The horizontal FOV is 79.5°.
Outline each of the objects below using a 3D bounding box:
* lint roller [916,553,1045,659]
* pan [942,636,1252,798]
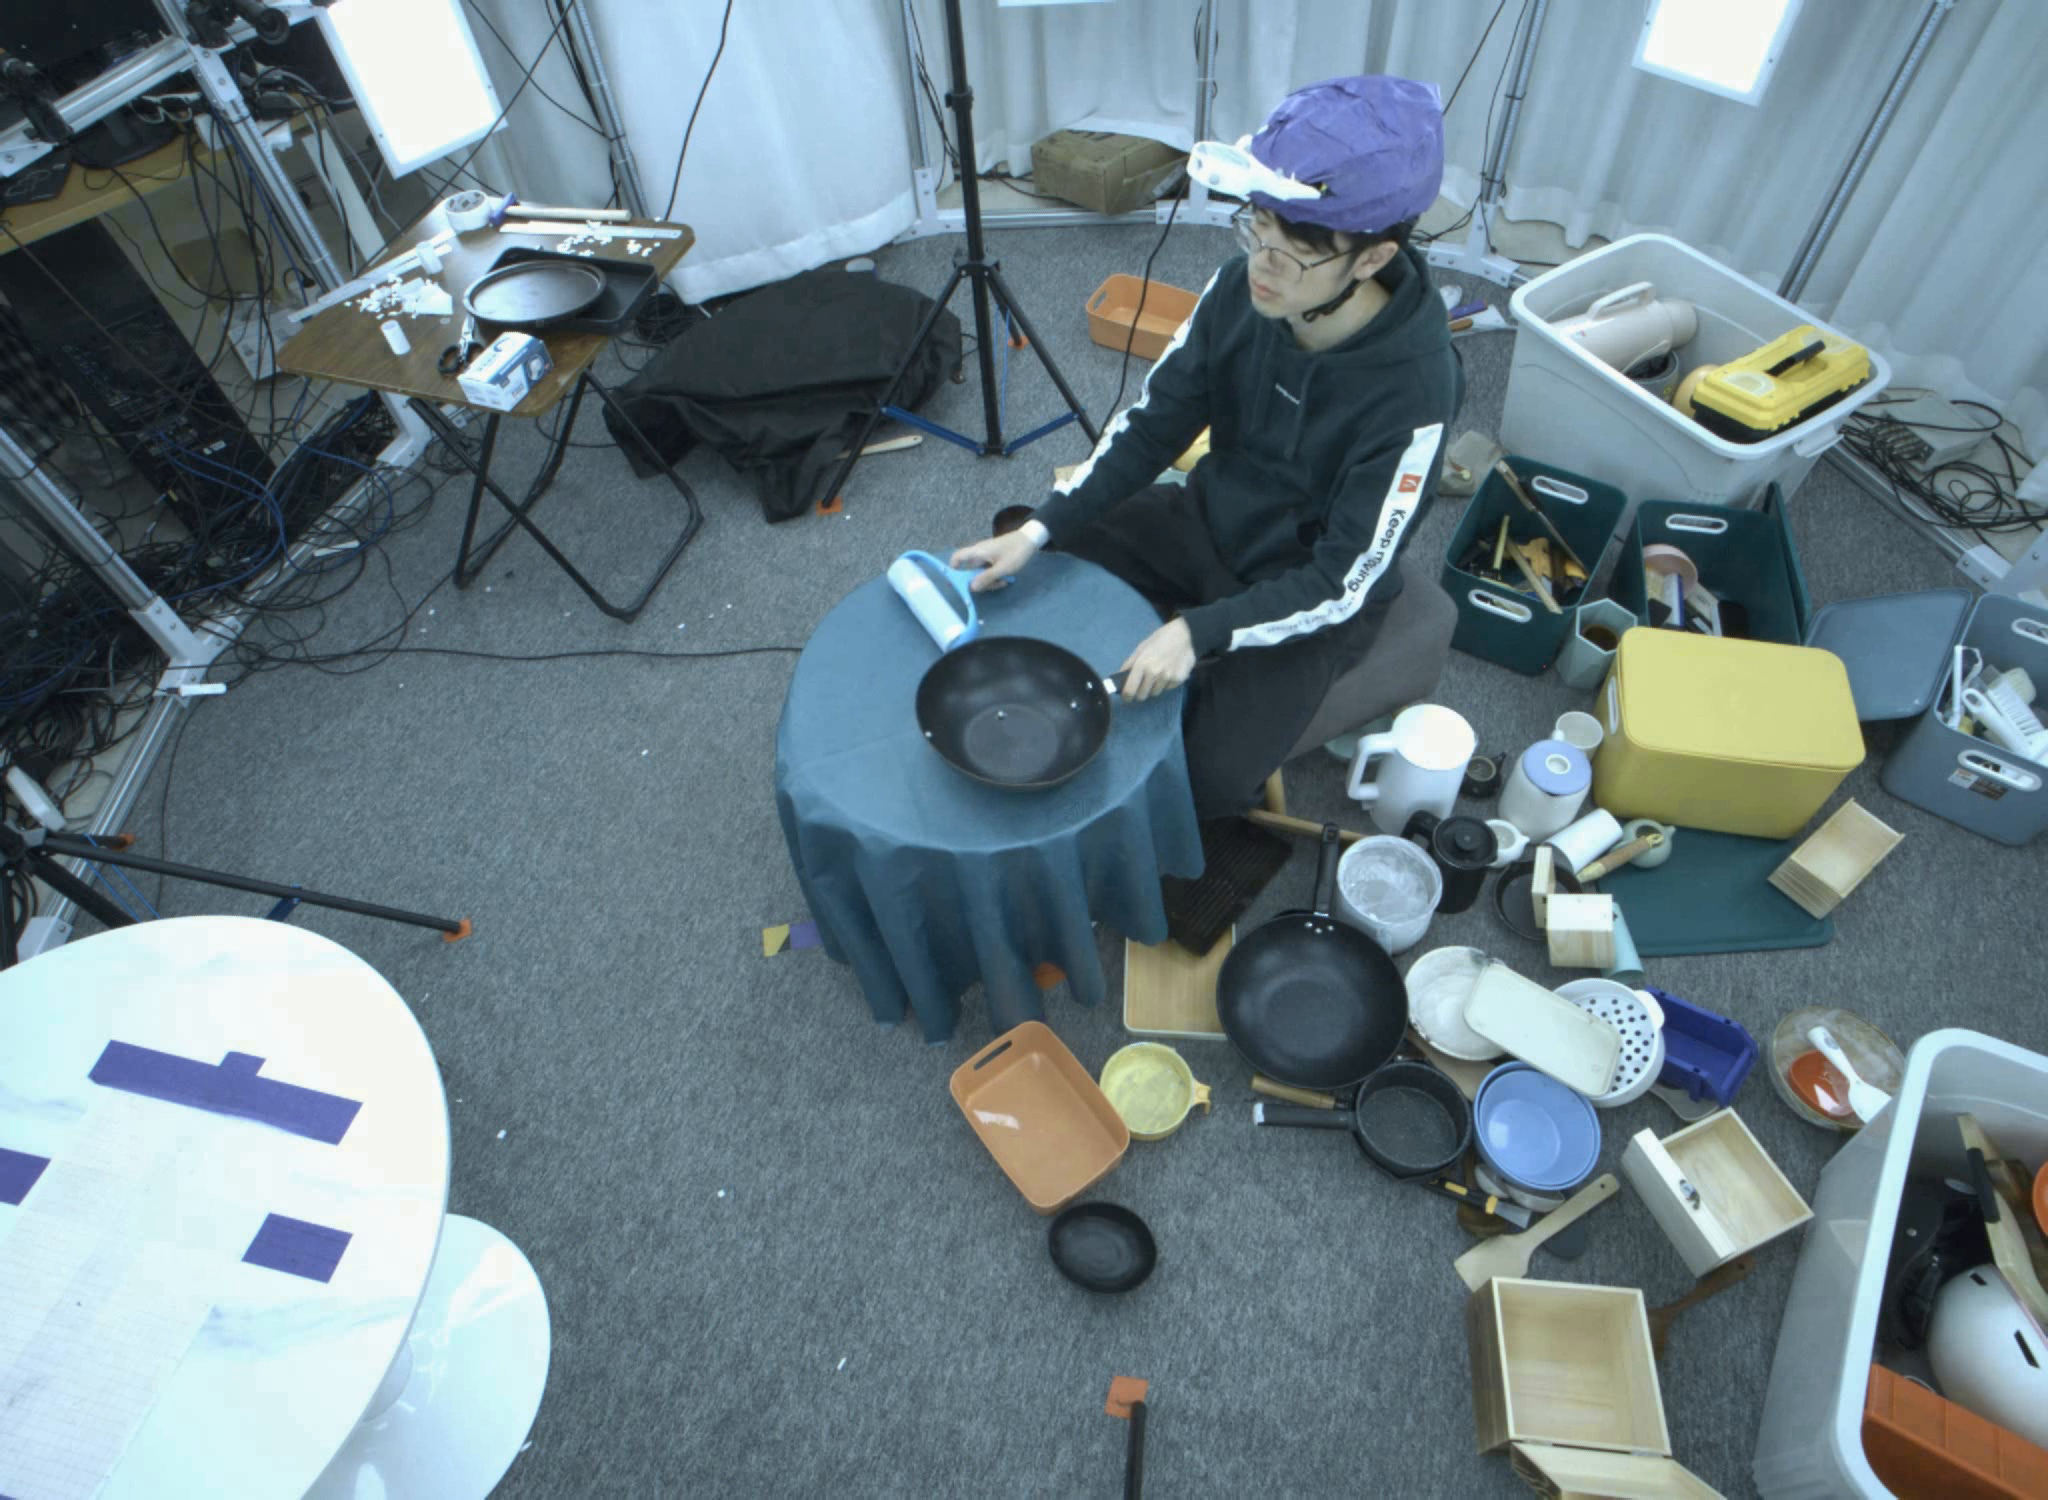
[{"bbox_3d":[-0.051,-0.249,1.925,0.181,0.069,0.224,-31,57,-15],"label":"lint roller"},{"bbox_3d":[0.108,-0.053,1.771,0.468,0.087,0.283,-13,55,-17],"label":"pan"}]
